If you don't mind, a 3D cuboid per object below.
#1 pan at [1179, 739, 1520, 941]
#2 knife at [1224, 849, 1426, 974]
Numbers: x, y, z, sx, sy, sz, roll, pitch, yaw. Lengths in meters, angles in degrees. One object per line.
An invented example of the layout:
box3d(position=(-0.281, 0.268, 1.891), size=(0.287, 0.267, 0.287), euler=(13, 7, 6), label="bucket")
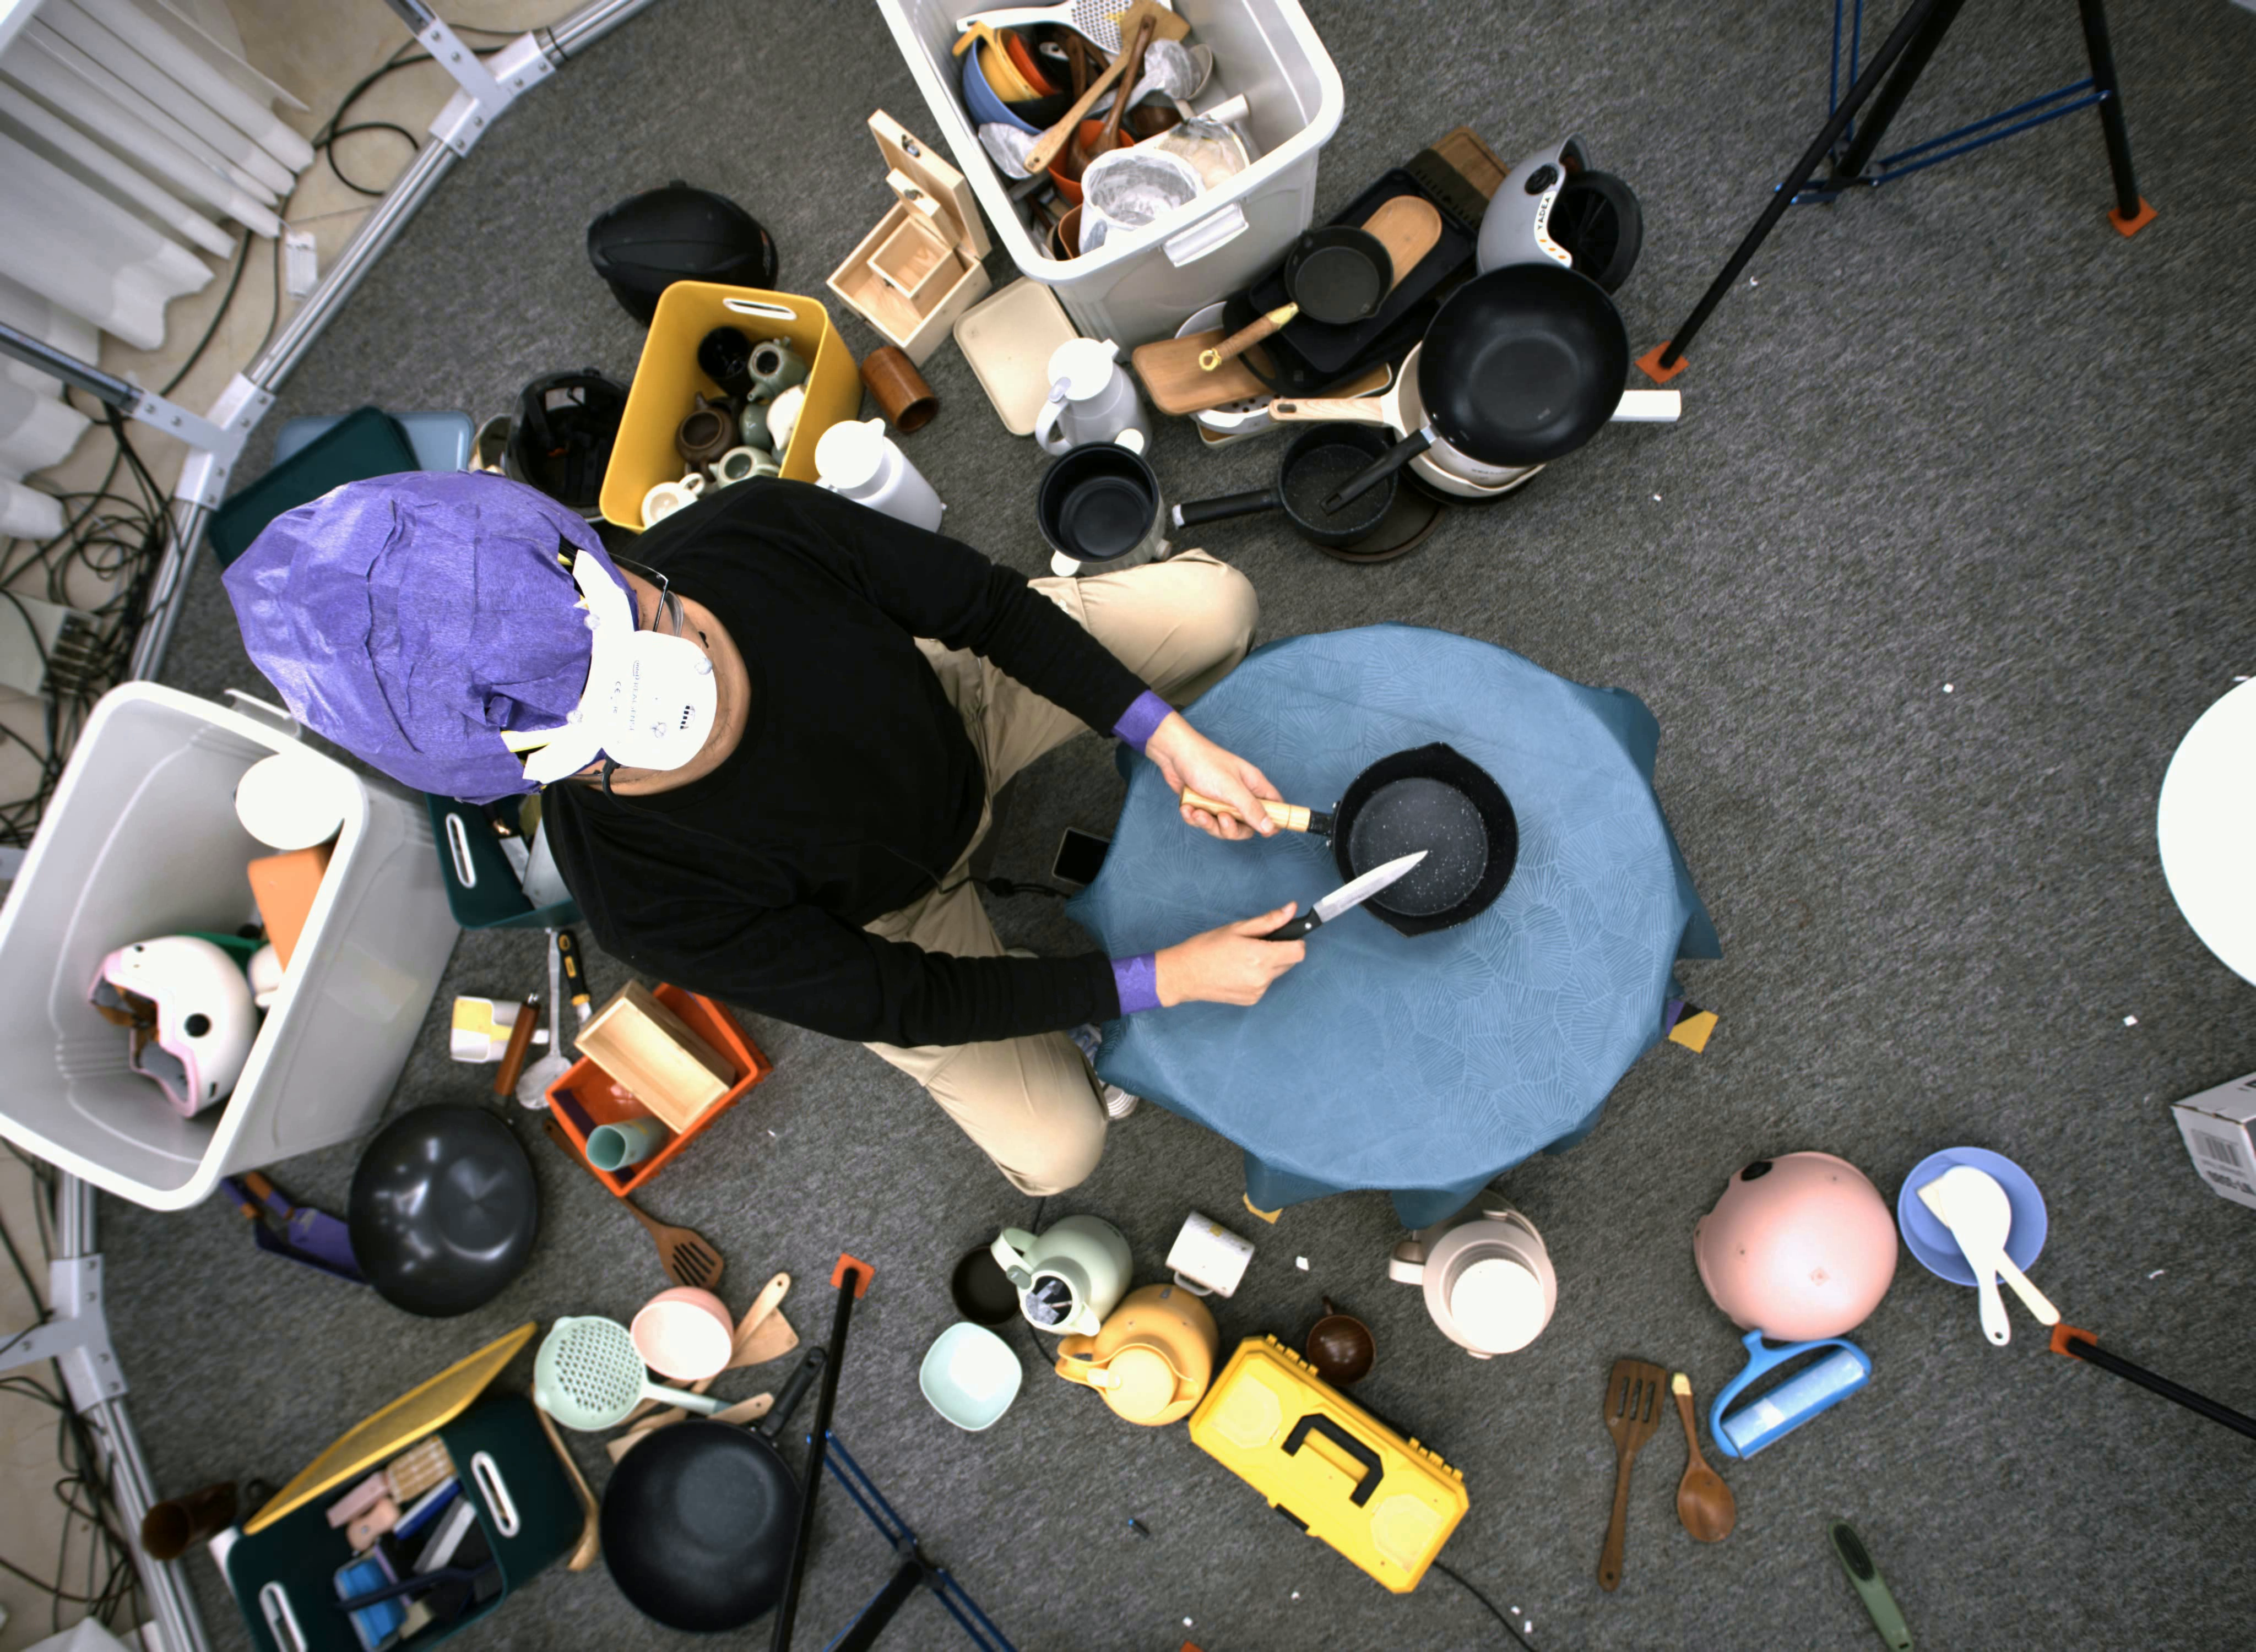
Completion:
box3d(position=(0.222, 0.003, 1.413), size=(0.343, 0.108, 0.207), euler=(9, 88, 7), label="pan")
box3d(position=(0.197, 0.086, 1.384), size=(0.241, 0.016, 0.024), euler=(-33, 100, 20), label="knife")
